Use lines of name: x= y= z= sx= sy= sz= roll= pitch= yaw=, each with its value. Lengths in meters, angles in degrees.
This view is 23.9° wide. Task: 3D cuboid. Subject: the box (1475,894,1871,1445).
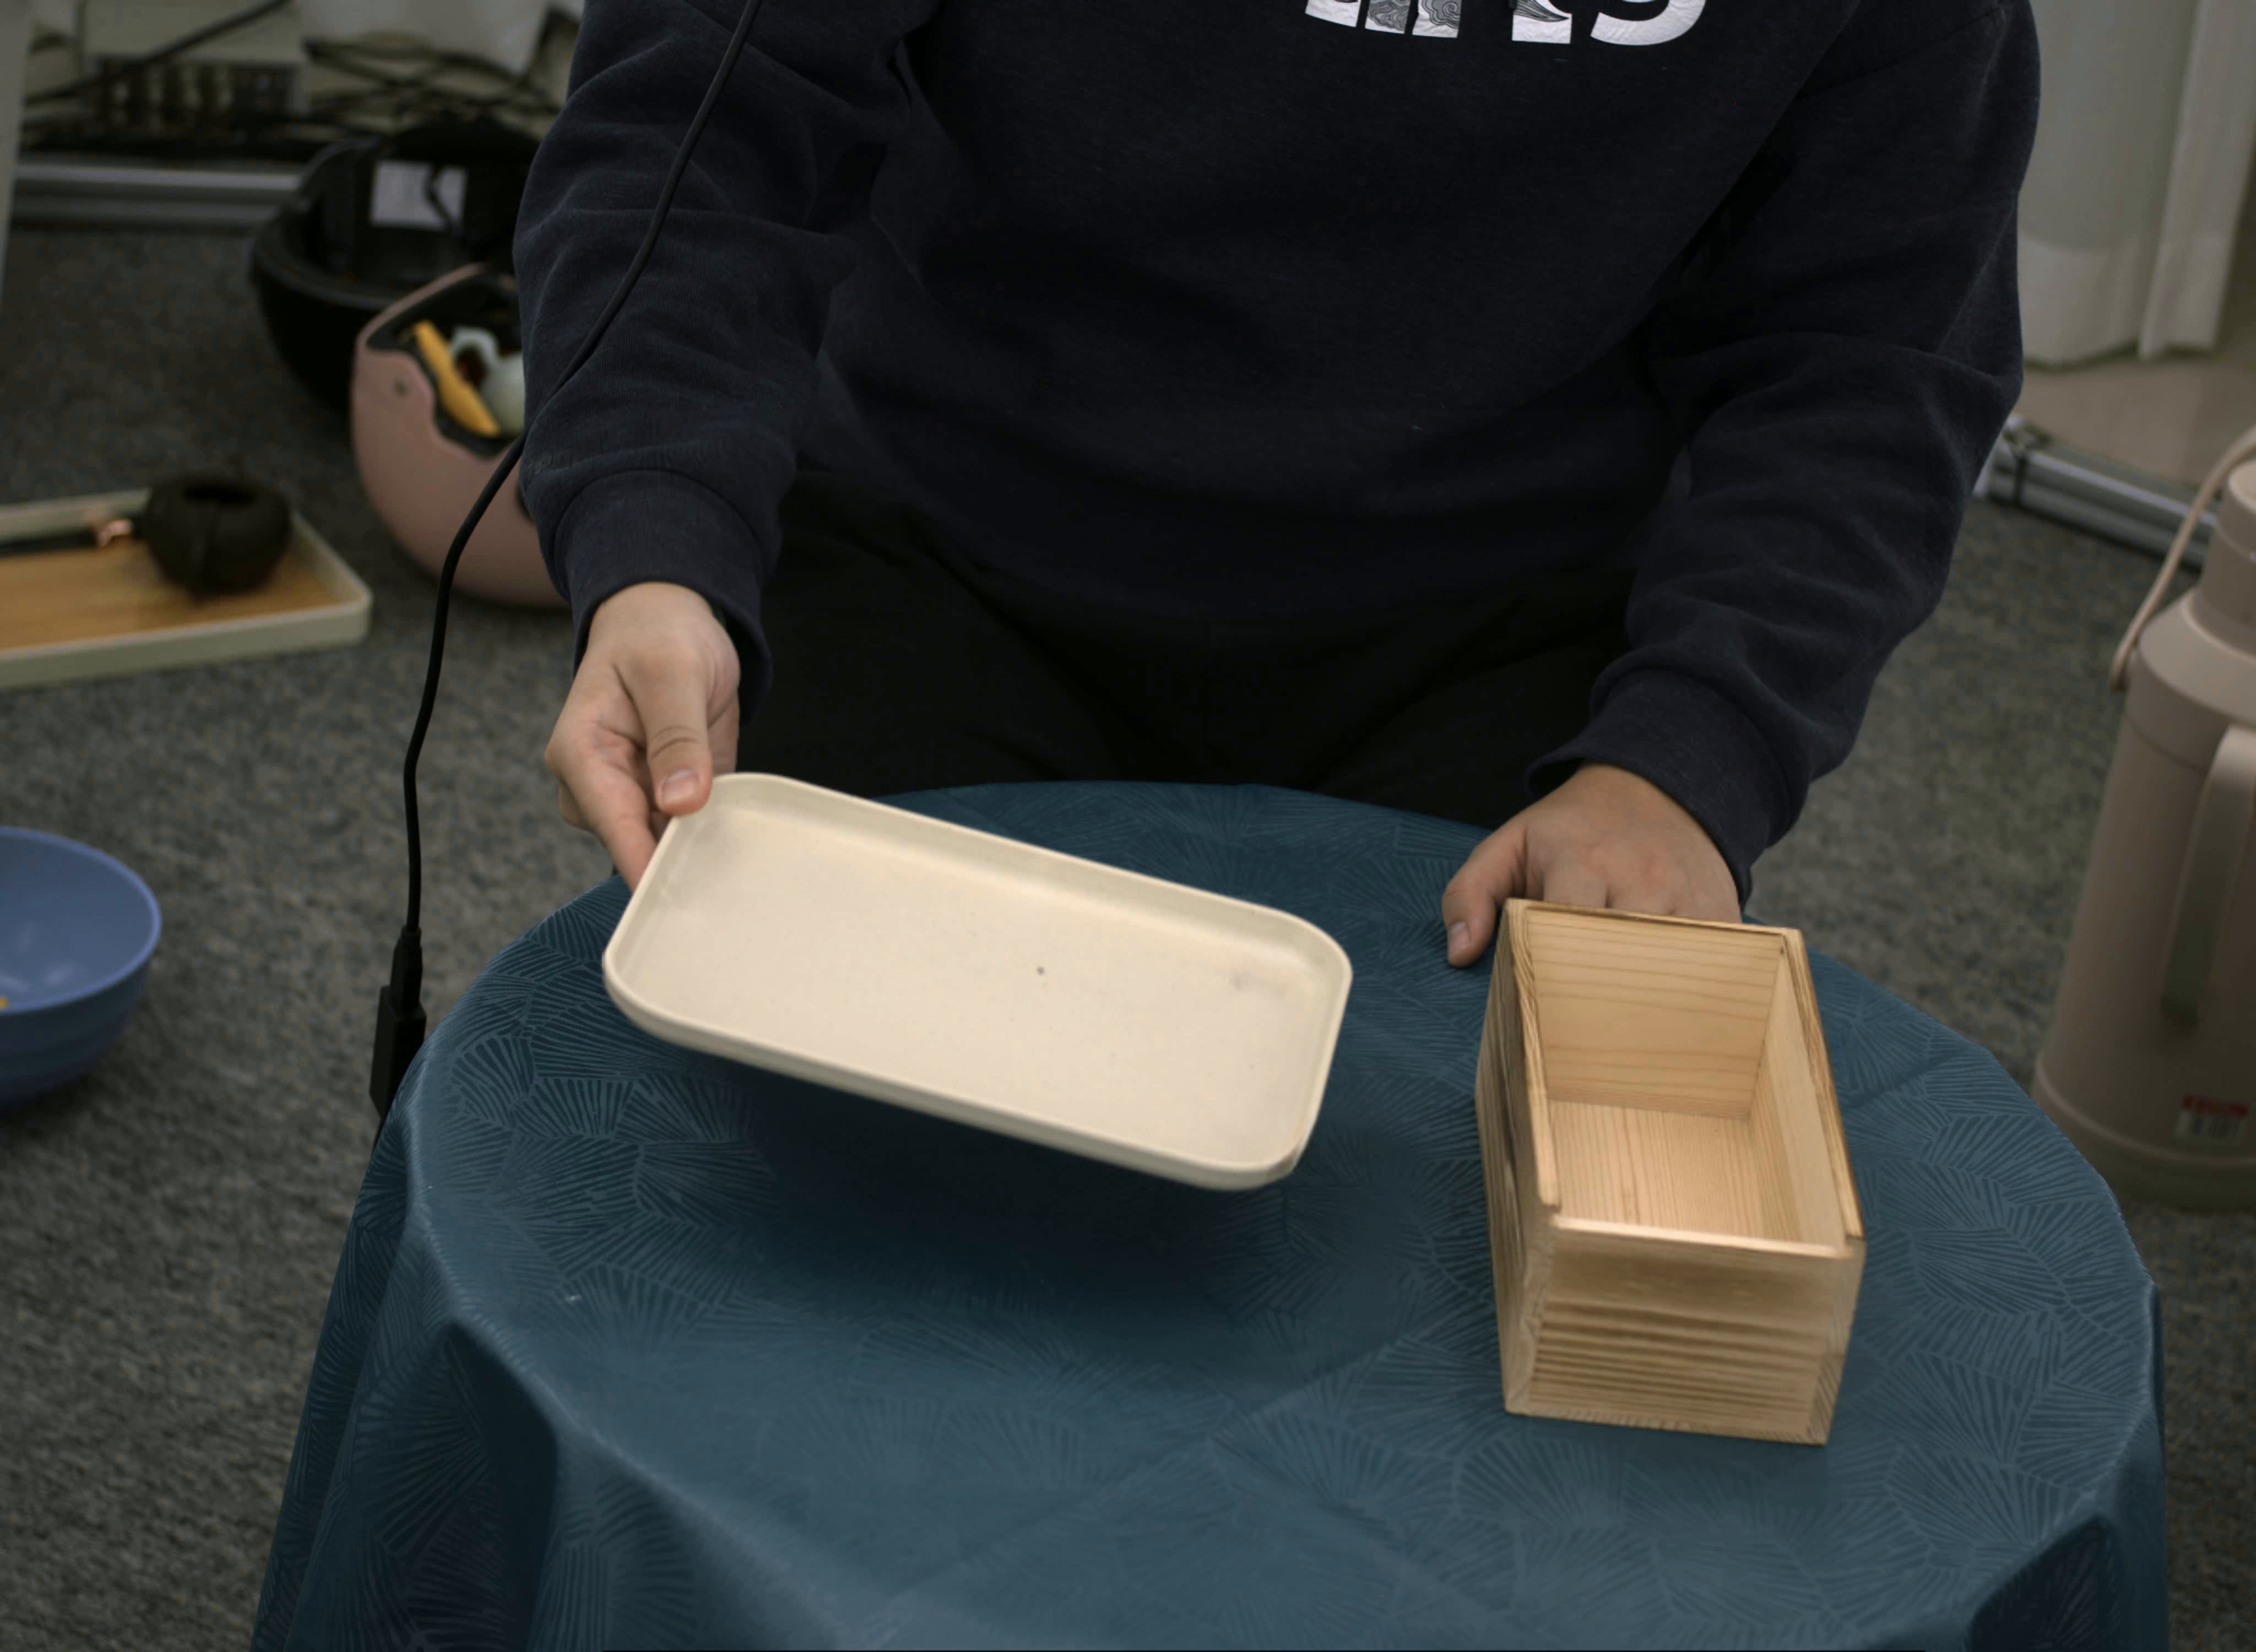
box: x=0.179 y=0.112 z=1.784 sx=0.107 sy=0.080 sz=0.212 roll=6 pitch=27 yaw=-3

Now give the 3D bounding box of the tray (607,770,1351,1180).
tray: x=-0.048 y=0.050 z=1.779 sx=0.239 sy=0.017 sz=0.172 roll=15 pitch=29 yaw=3
